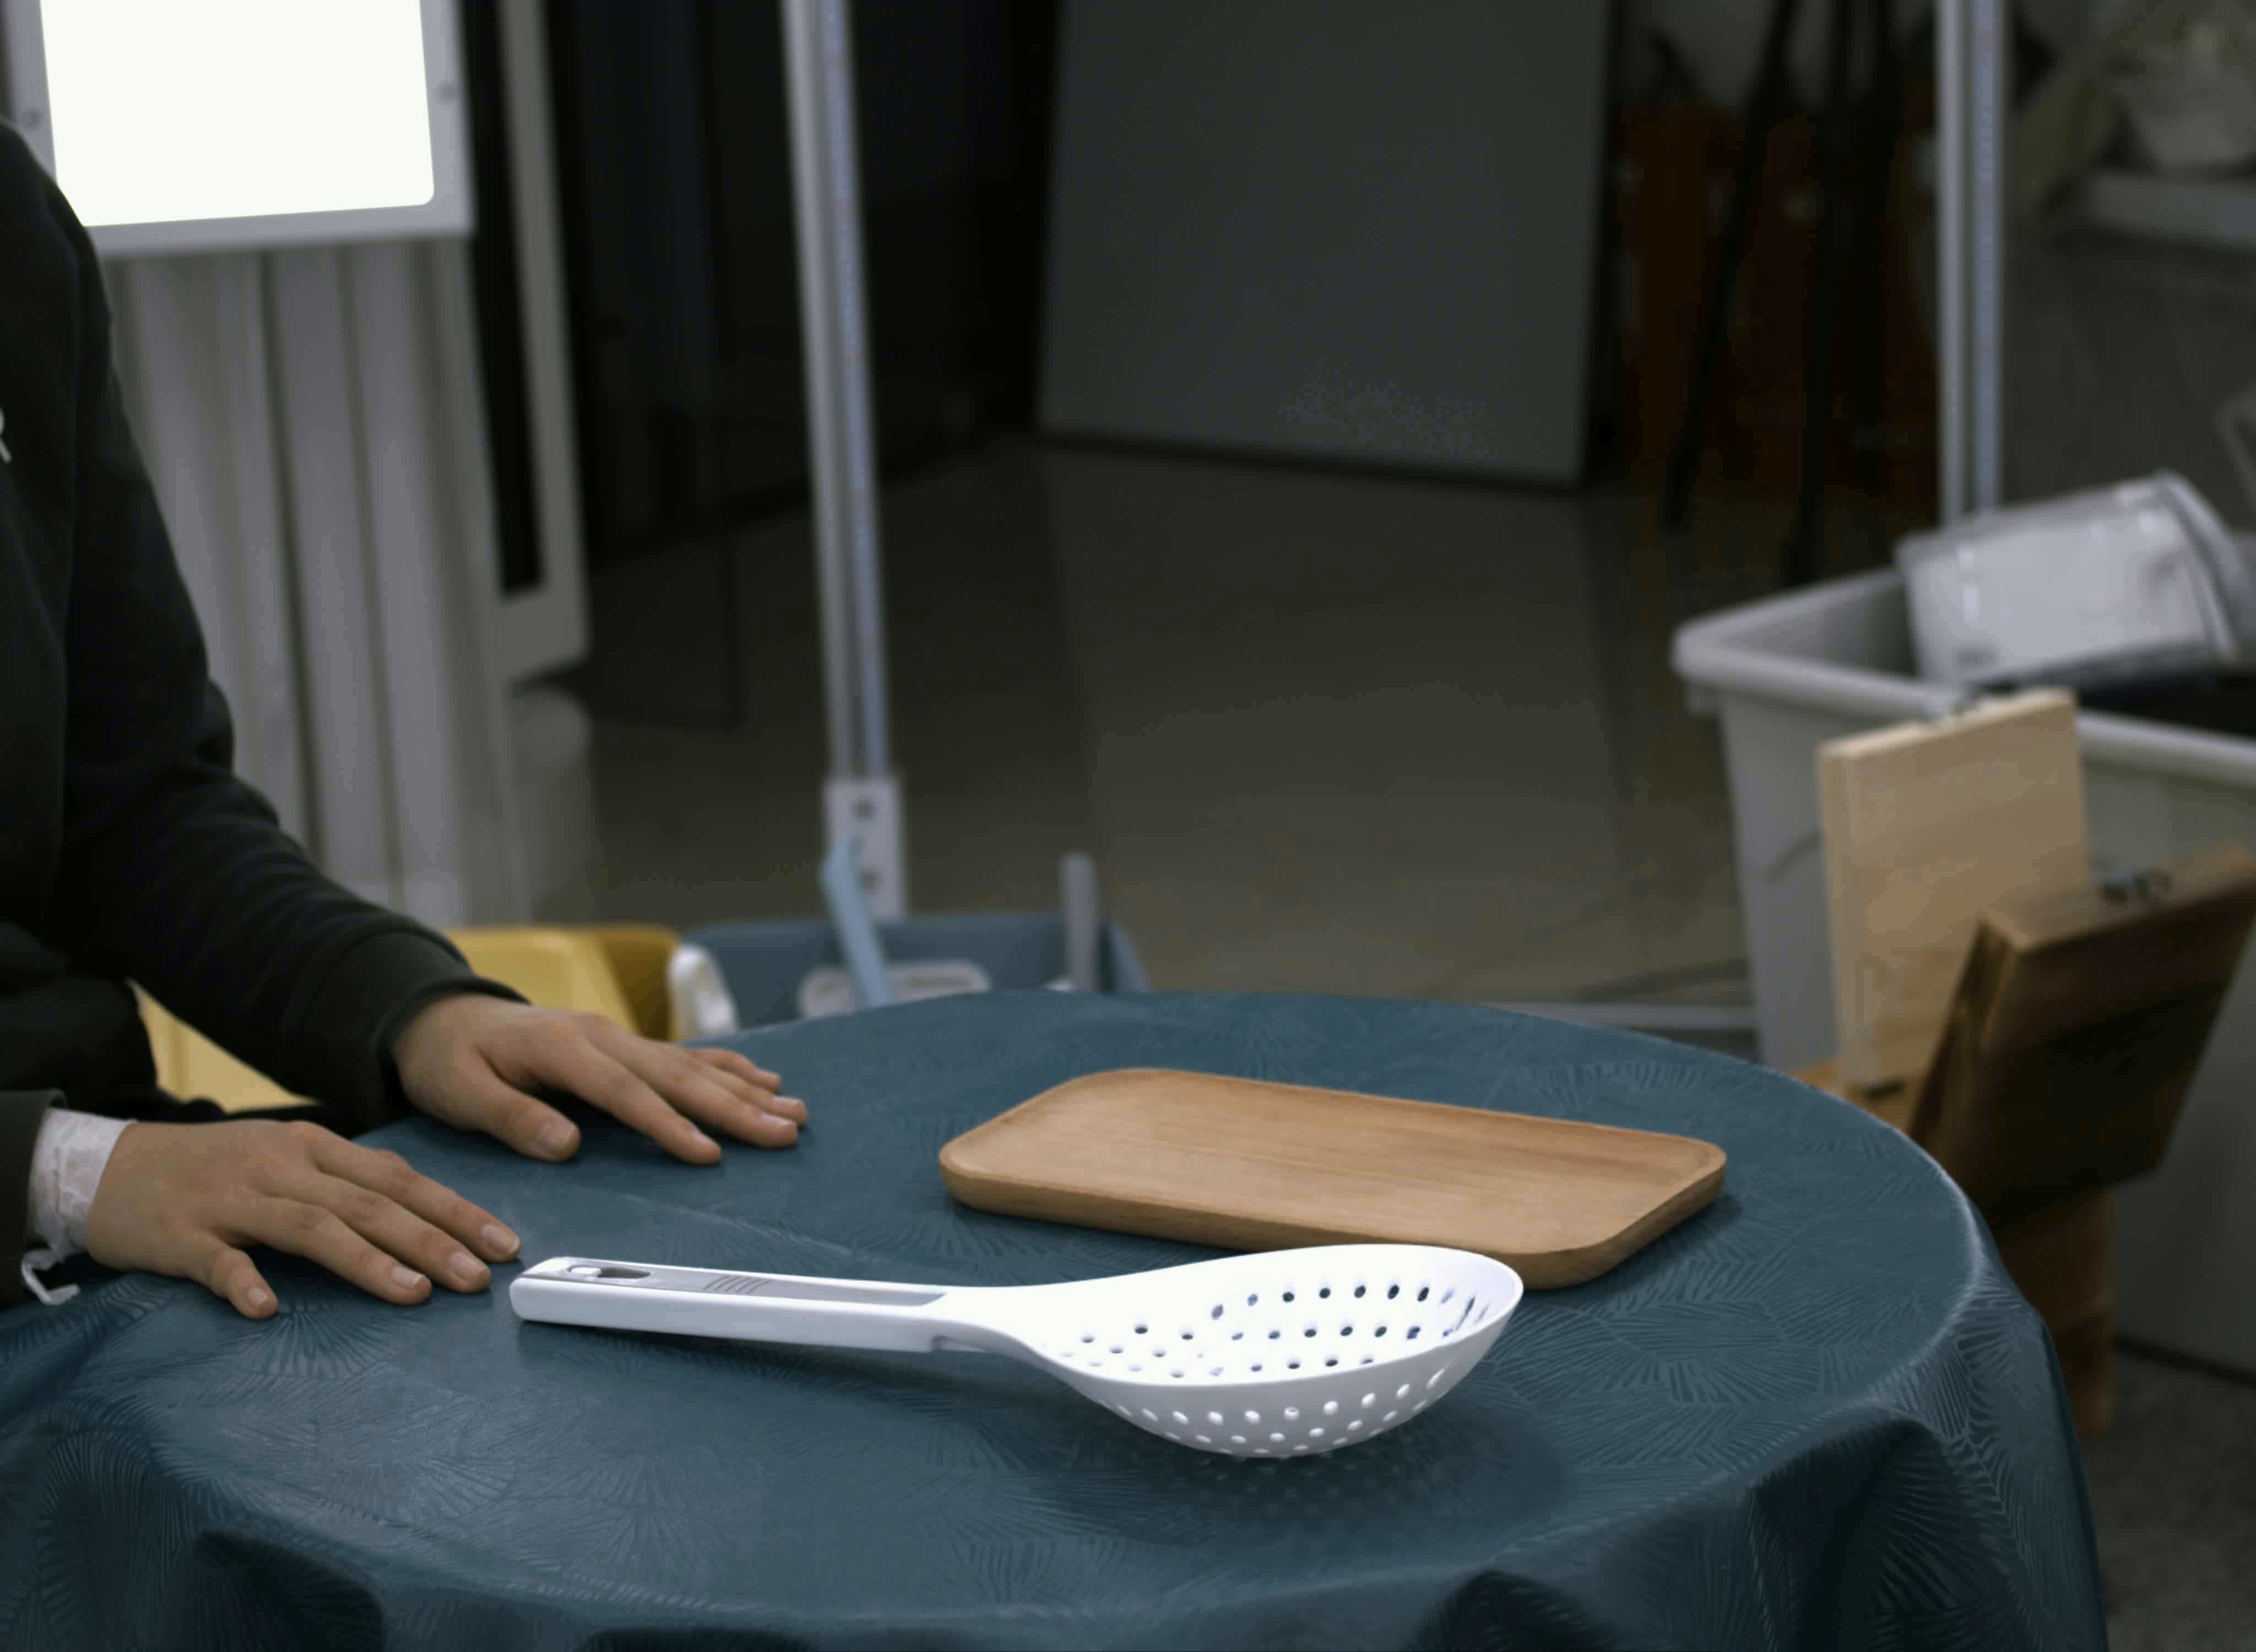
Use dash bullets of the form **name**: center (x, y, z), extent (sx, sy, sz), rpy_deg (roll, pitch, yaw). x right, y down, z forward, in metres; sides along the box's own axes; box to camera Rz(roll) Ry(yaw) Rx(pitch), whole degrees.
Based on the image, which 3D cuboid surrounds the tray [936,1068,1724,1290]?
- **tray**: center (0.064, 0.113, 1.749), extent (0.252, 0.023, 0.128), rpy_deg (4, 14, 34)

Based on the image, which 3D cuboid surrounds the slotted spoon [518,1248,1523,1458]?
- **slotted spoon**: center (-0.042, 0.146, 1.589), extent (0.352, 0.046, 0.133), rpy_deg (5, 14, 35)
